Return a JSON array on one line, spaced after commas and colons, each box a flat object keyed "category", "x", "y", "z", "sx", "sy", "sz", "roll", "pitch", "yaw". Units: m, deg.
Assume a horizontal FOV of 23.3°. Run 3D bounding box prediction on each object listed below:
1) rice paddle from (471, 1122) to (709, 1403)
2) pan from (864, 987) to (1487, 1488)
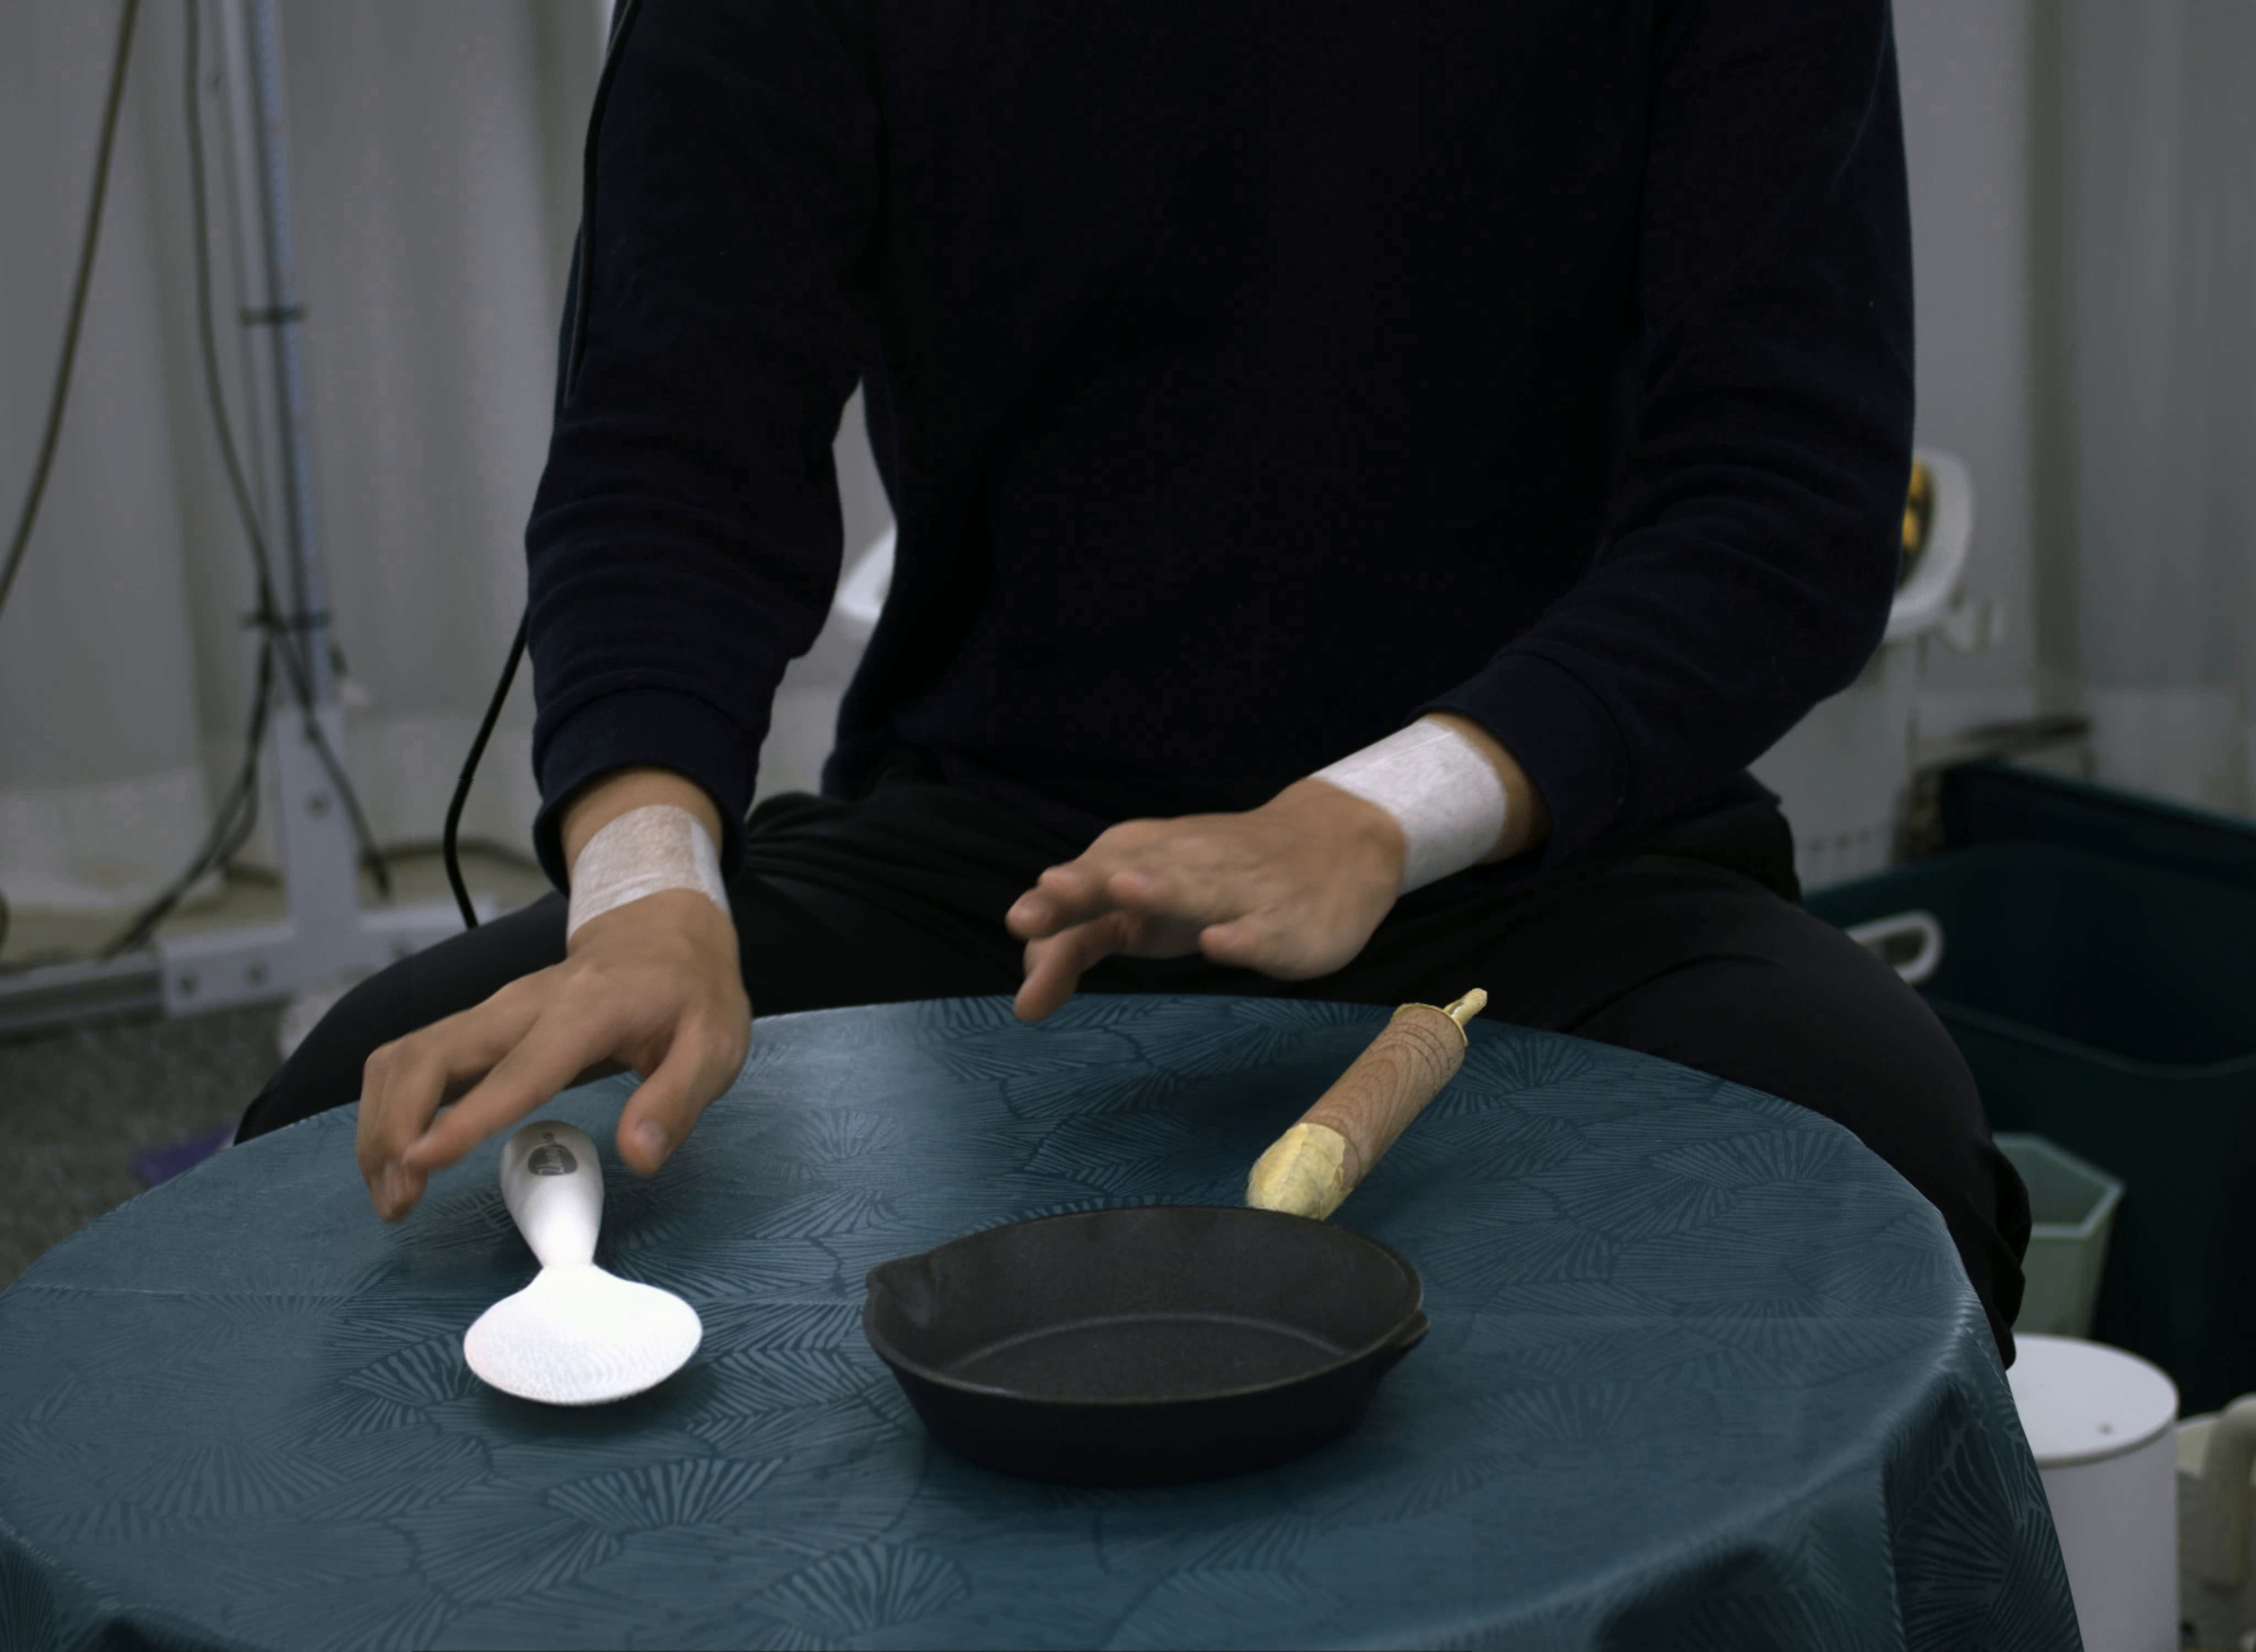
[{"category": "rice paddle", "x": -0.165, "y": 0.132, "z": 1.627, "sx": 0.068, "sy": 0.029, "sz": 0.207, "roll": -7, "pitch": 15, "yaw": -9}, {"category": "pan", "x": 0.041, "y": 0.117, "z": 1.602, "sx": 0.169, "sy": 0.049, "sz": 0.325, "roll": 4, "pitch": 18, "yaw": 26}]
